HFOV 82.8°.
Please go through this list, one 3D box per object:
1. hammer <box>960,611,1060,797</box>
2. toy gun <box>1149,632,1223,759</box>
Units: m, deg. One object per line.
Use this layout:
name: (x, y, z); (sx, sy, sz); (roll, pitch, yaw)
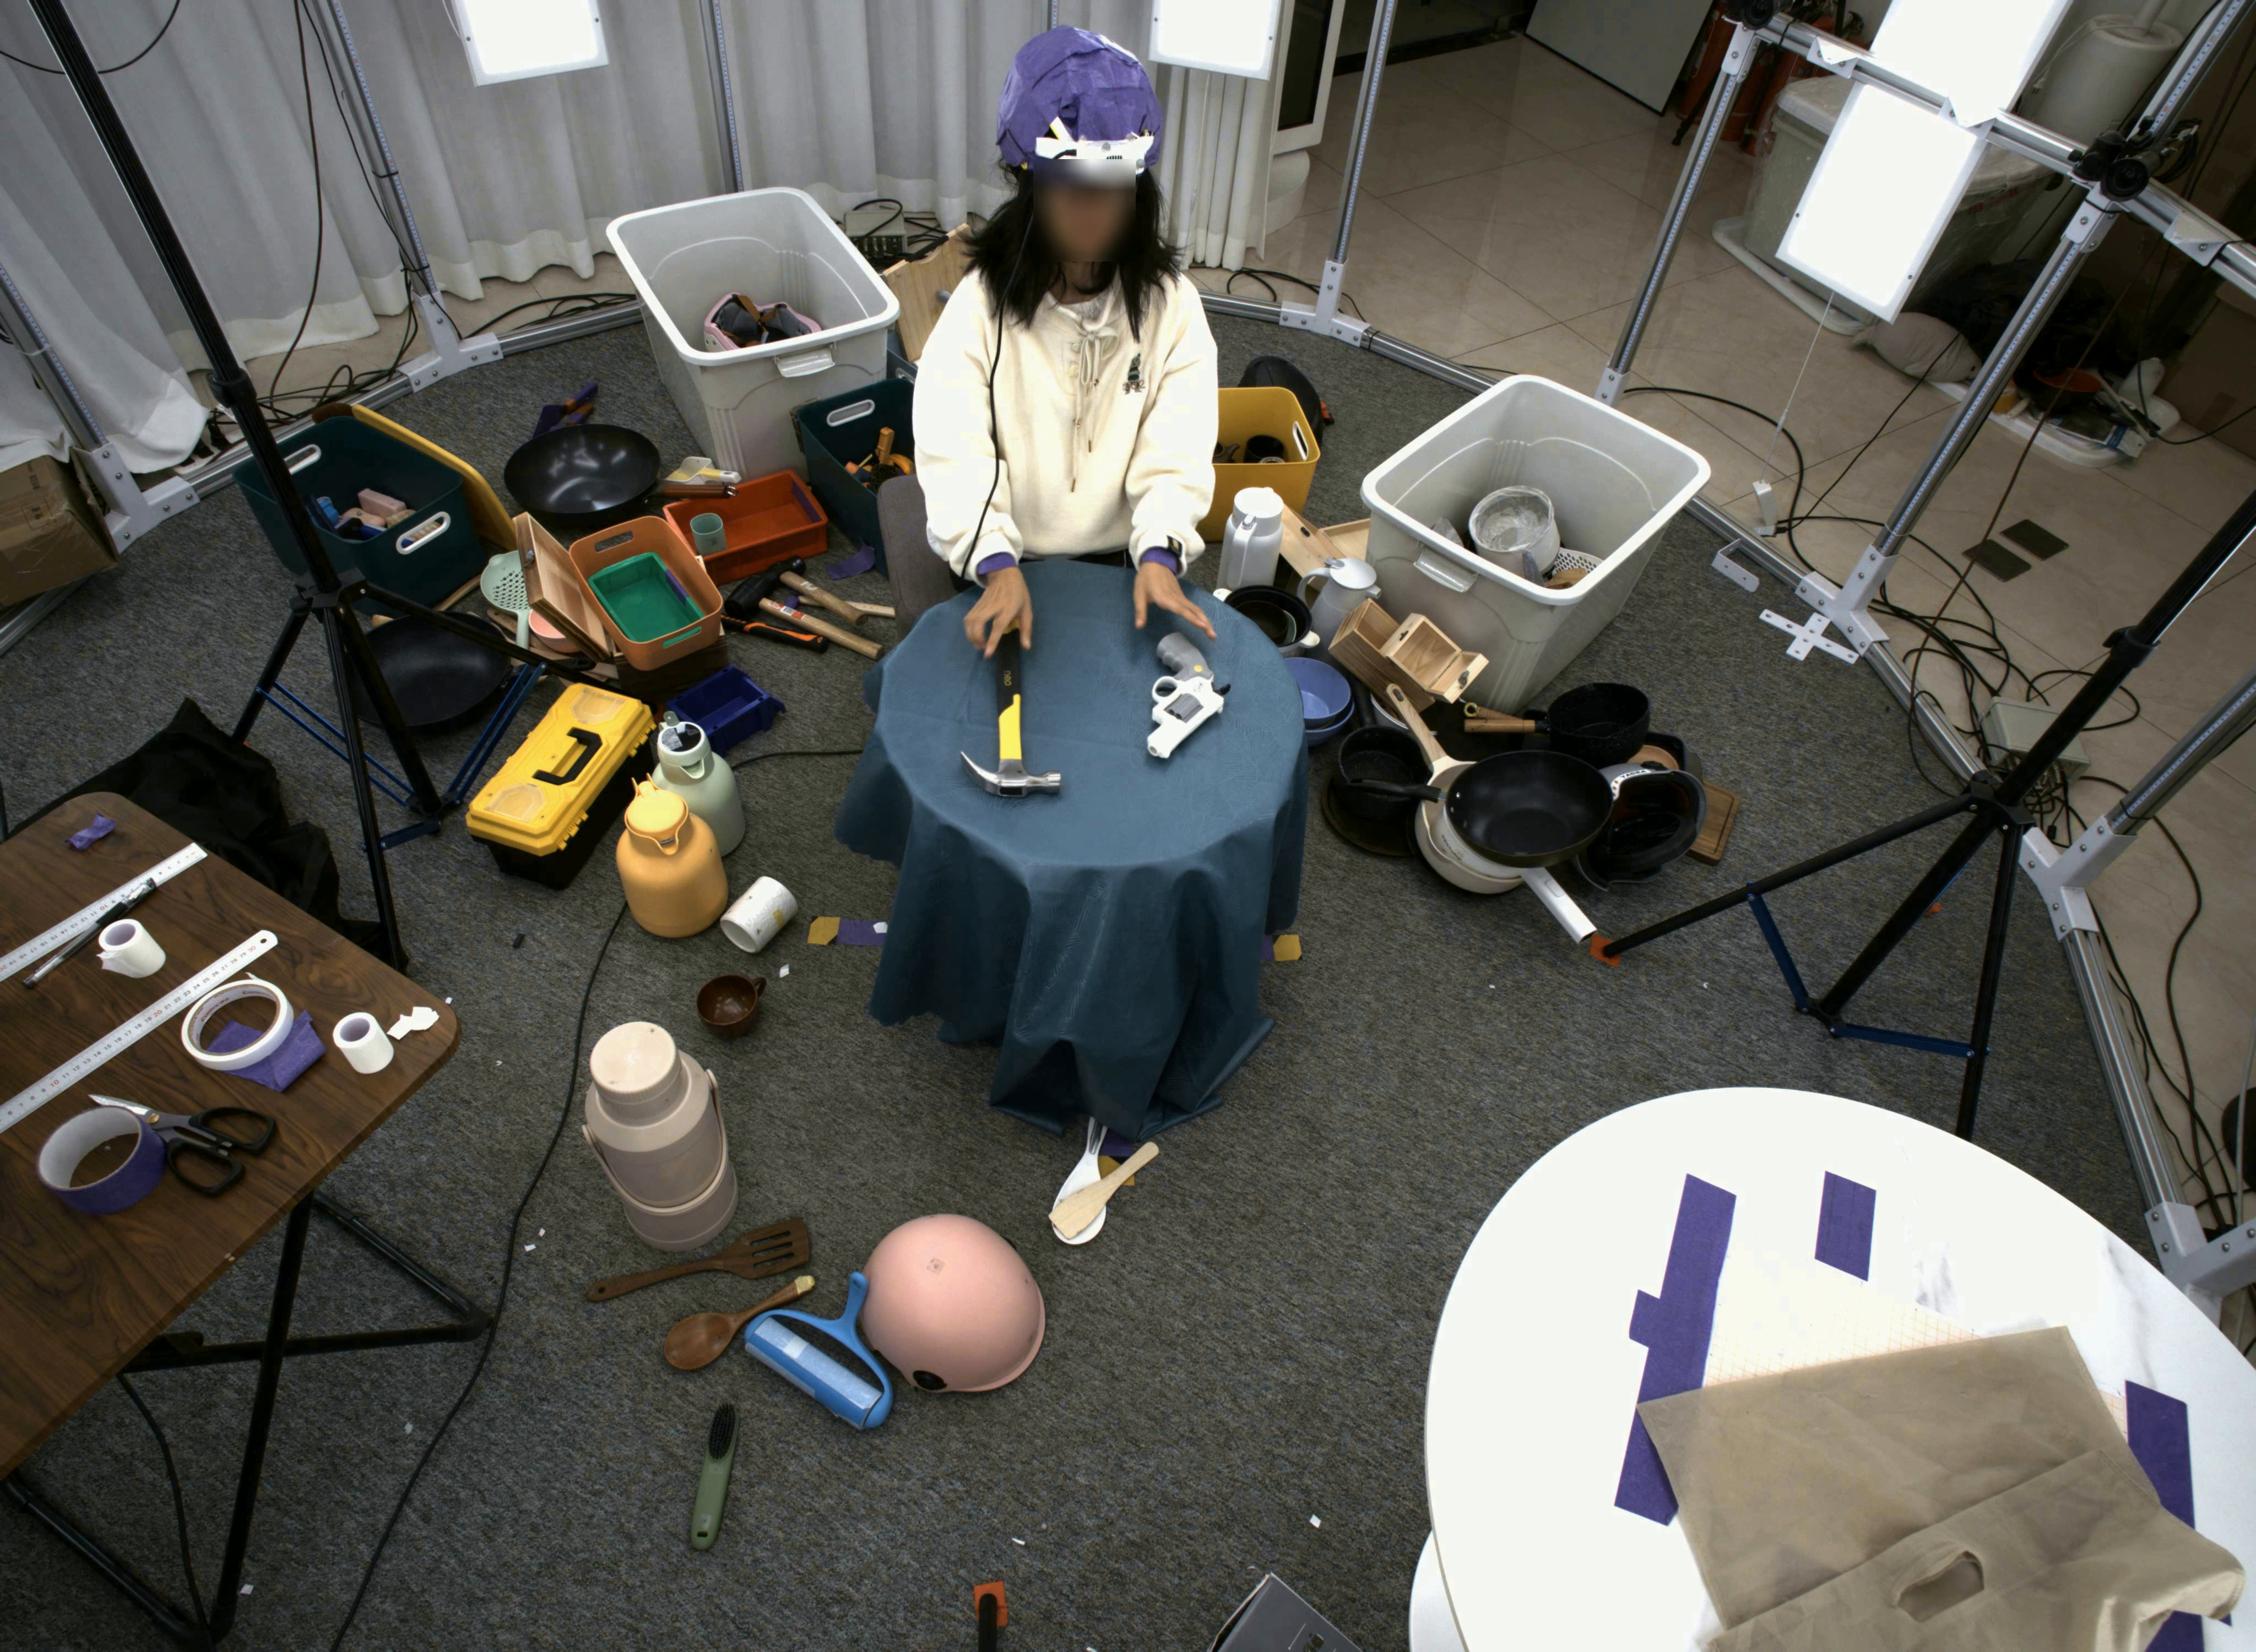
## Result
hammer: (-0.166, -0.178, 1.789); (0.131, 0.031, 0.347); (-2, 50, -3)
toy gun: (0.061, -0.188, 1.811); (0.143, 0.038, 0.212); (32, 54, 20)
